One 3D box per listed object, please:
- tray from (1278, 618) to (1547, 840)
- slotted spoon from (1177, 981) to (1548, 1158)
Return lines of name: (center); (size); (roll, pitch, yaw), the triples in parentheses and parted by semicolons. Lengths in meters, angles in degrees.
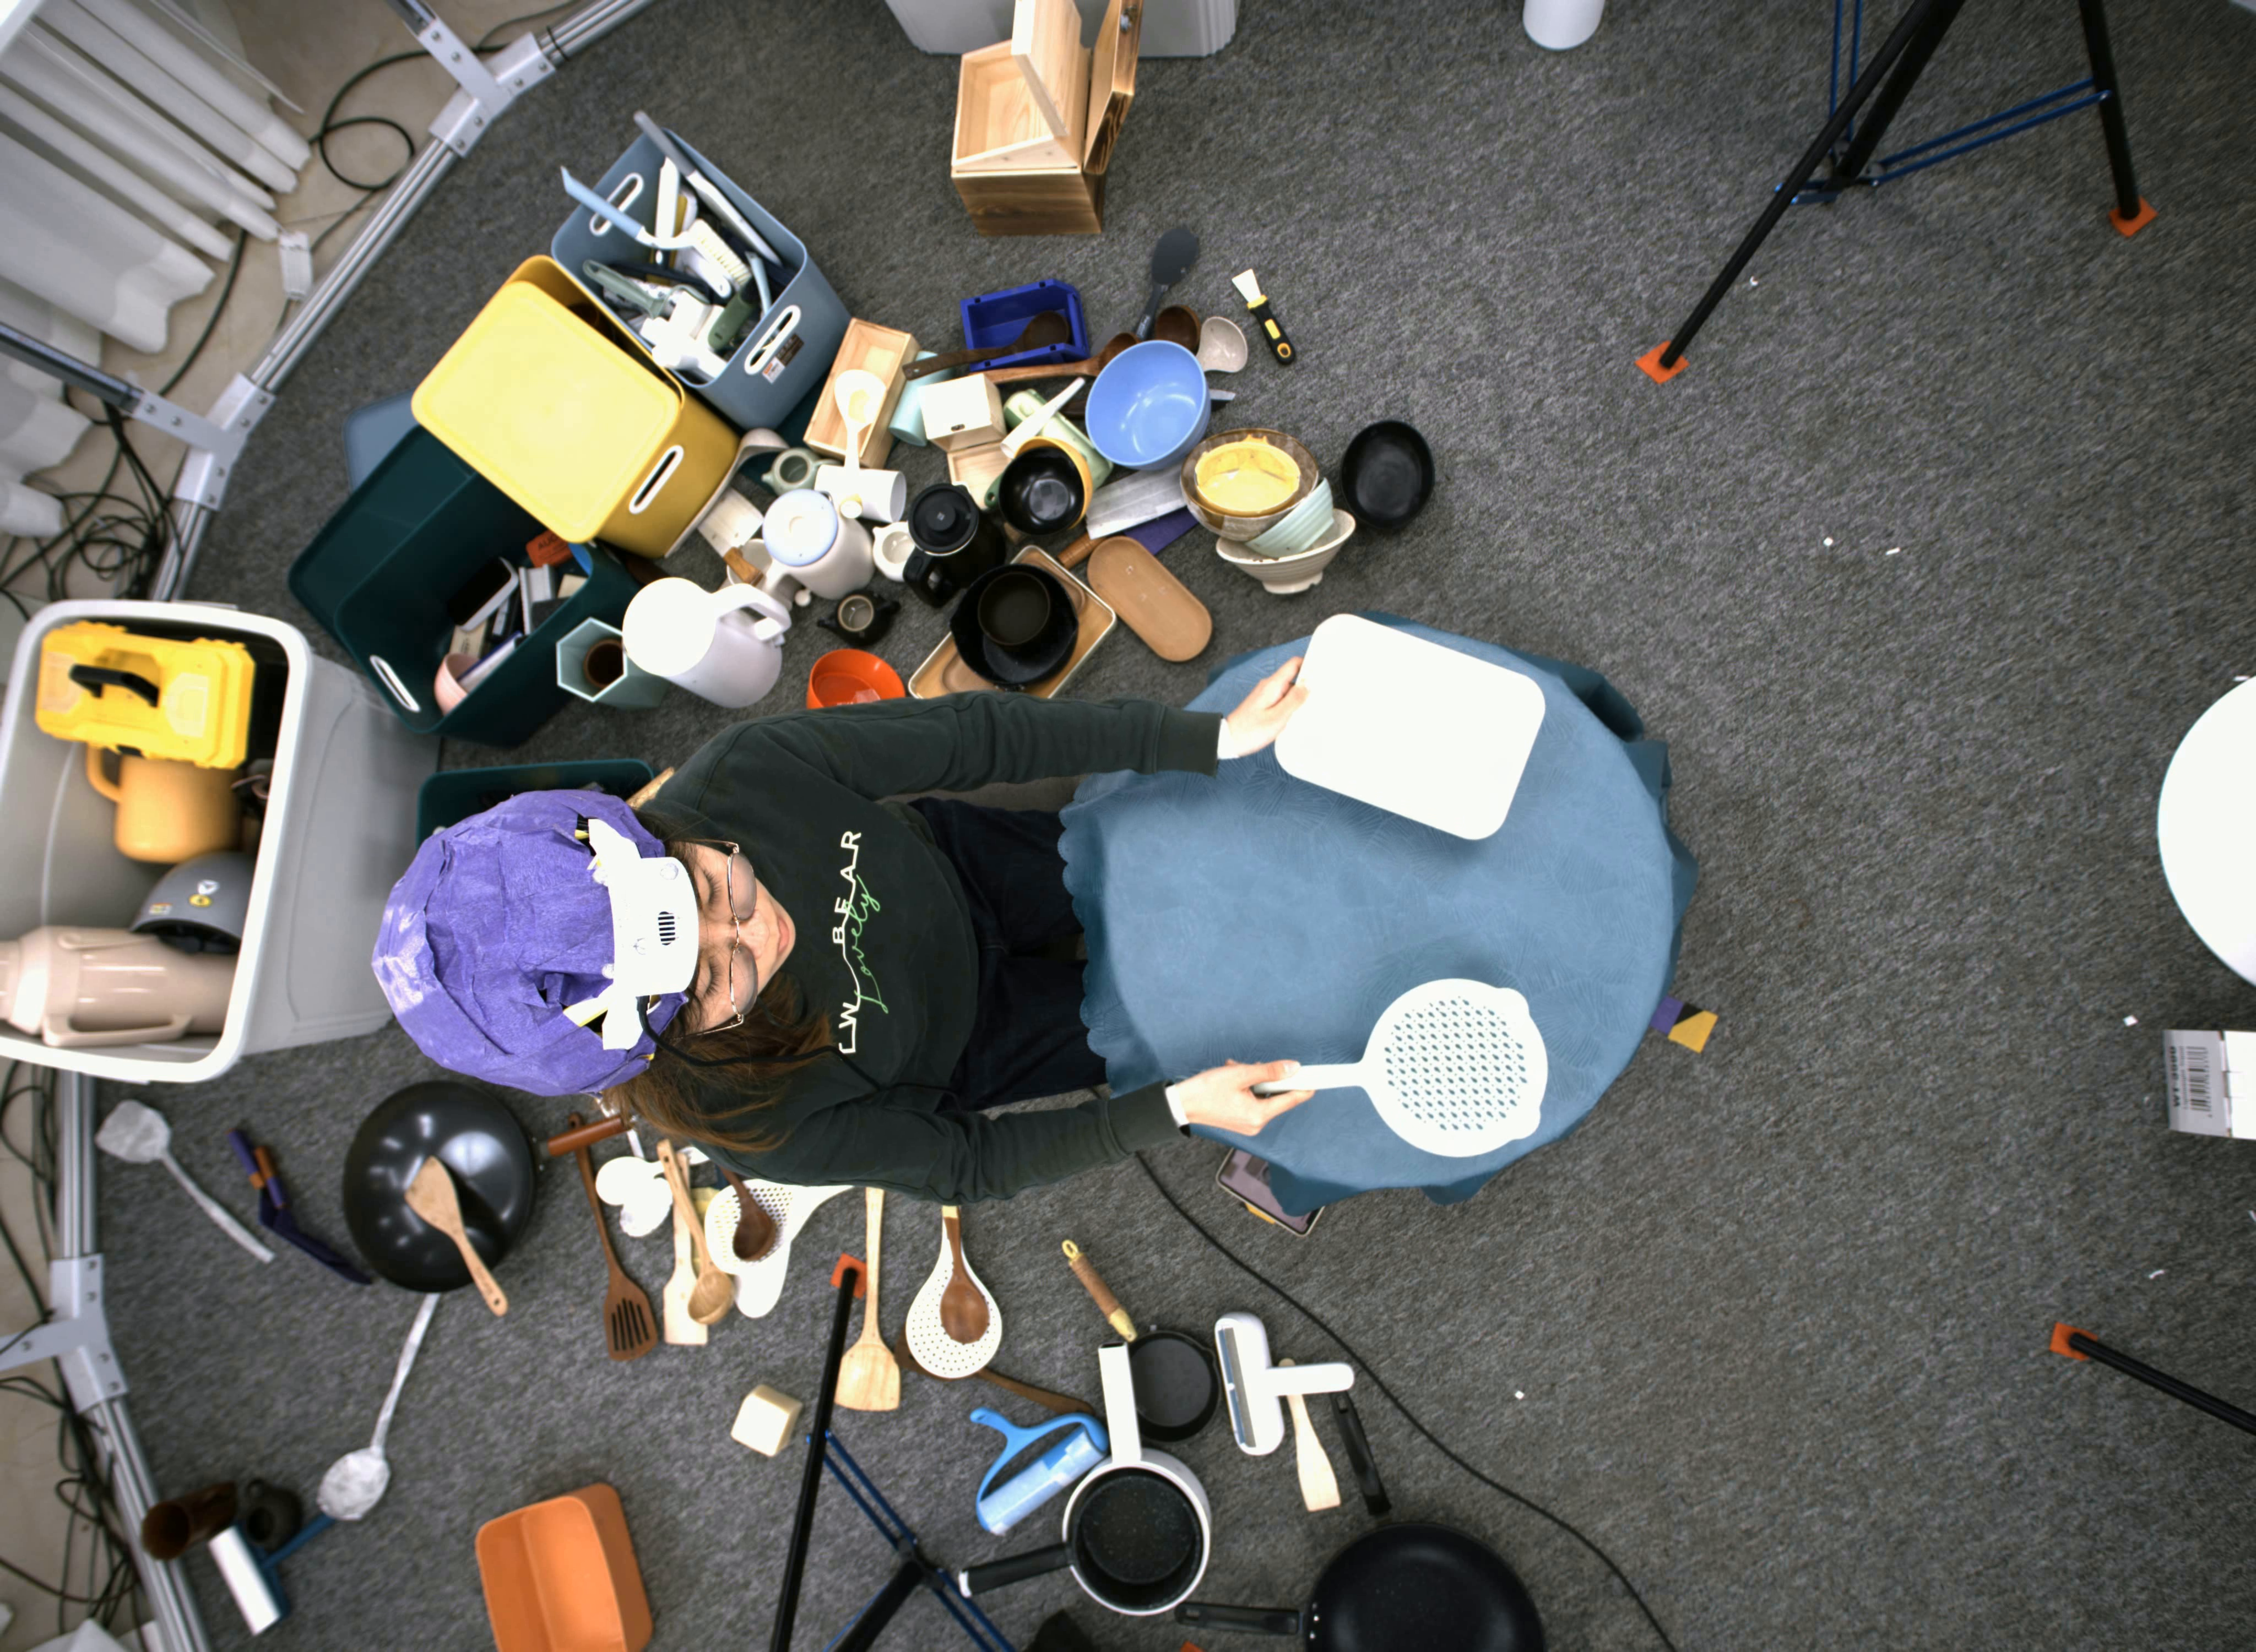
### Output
tray: (0.282, -0.098, 1.368); (0.240, 0.017, 0.172); (20, 96, 6)
slotted spoon: (0.225, 0.245, 1.364); (0.360, 0.076, 0.168); (-5, 82, 6)
